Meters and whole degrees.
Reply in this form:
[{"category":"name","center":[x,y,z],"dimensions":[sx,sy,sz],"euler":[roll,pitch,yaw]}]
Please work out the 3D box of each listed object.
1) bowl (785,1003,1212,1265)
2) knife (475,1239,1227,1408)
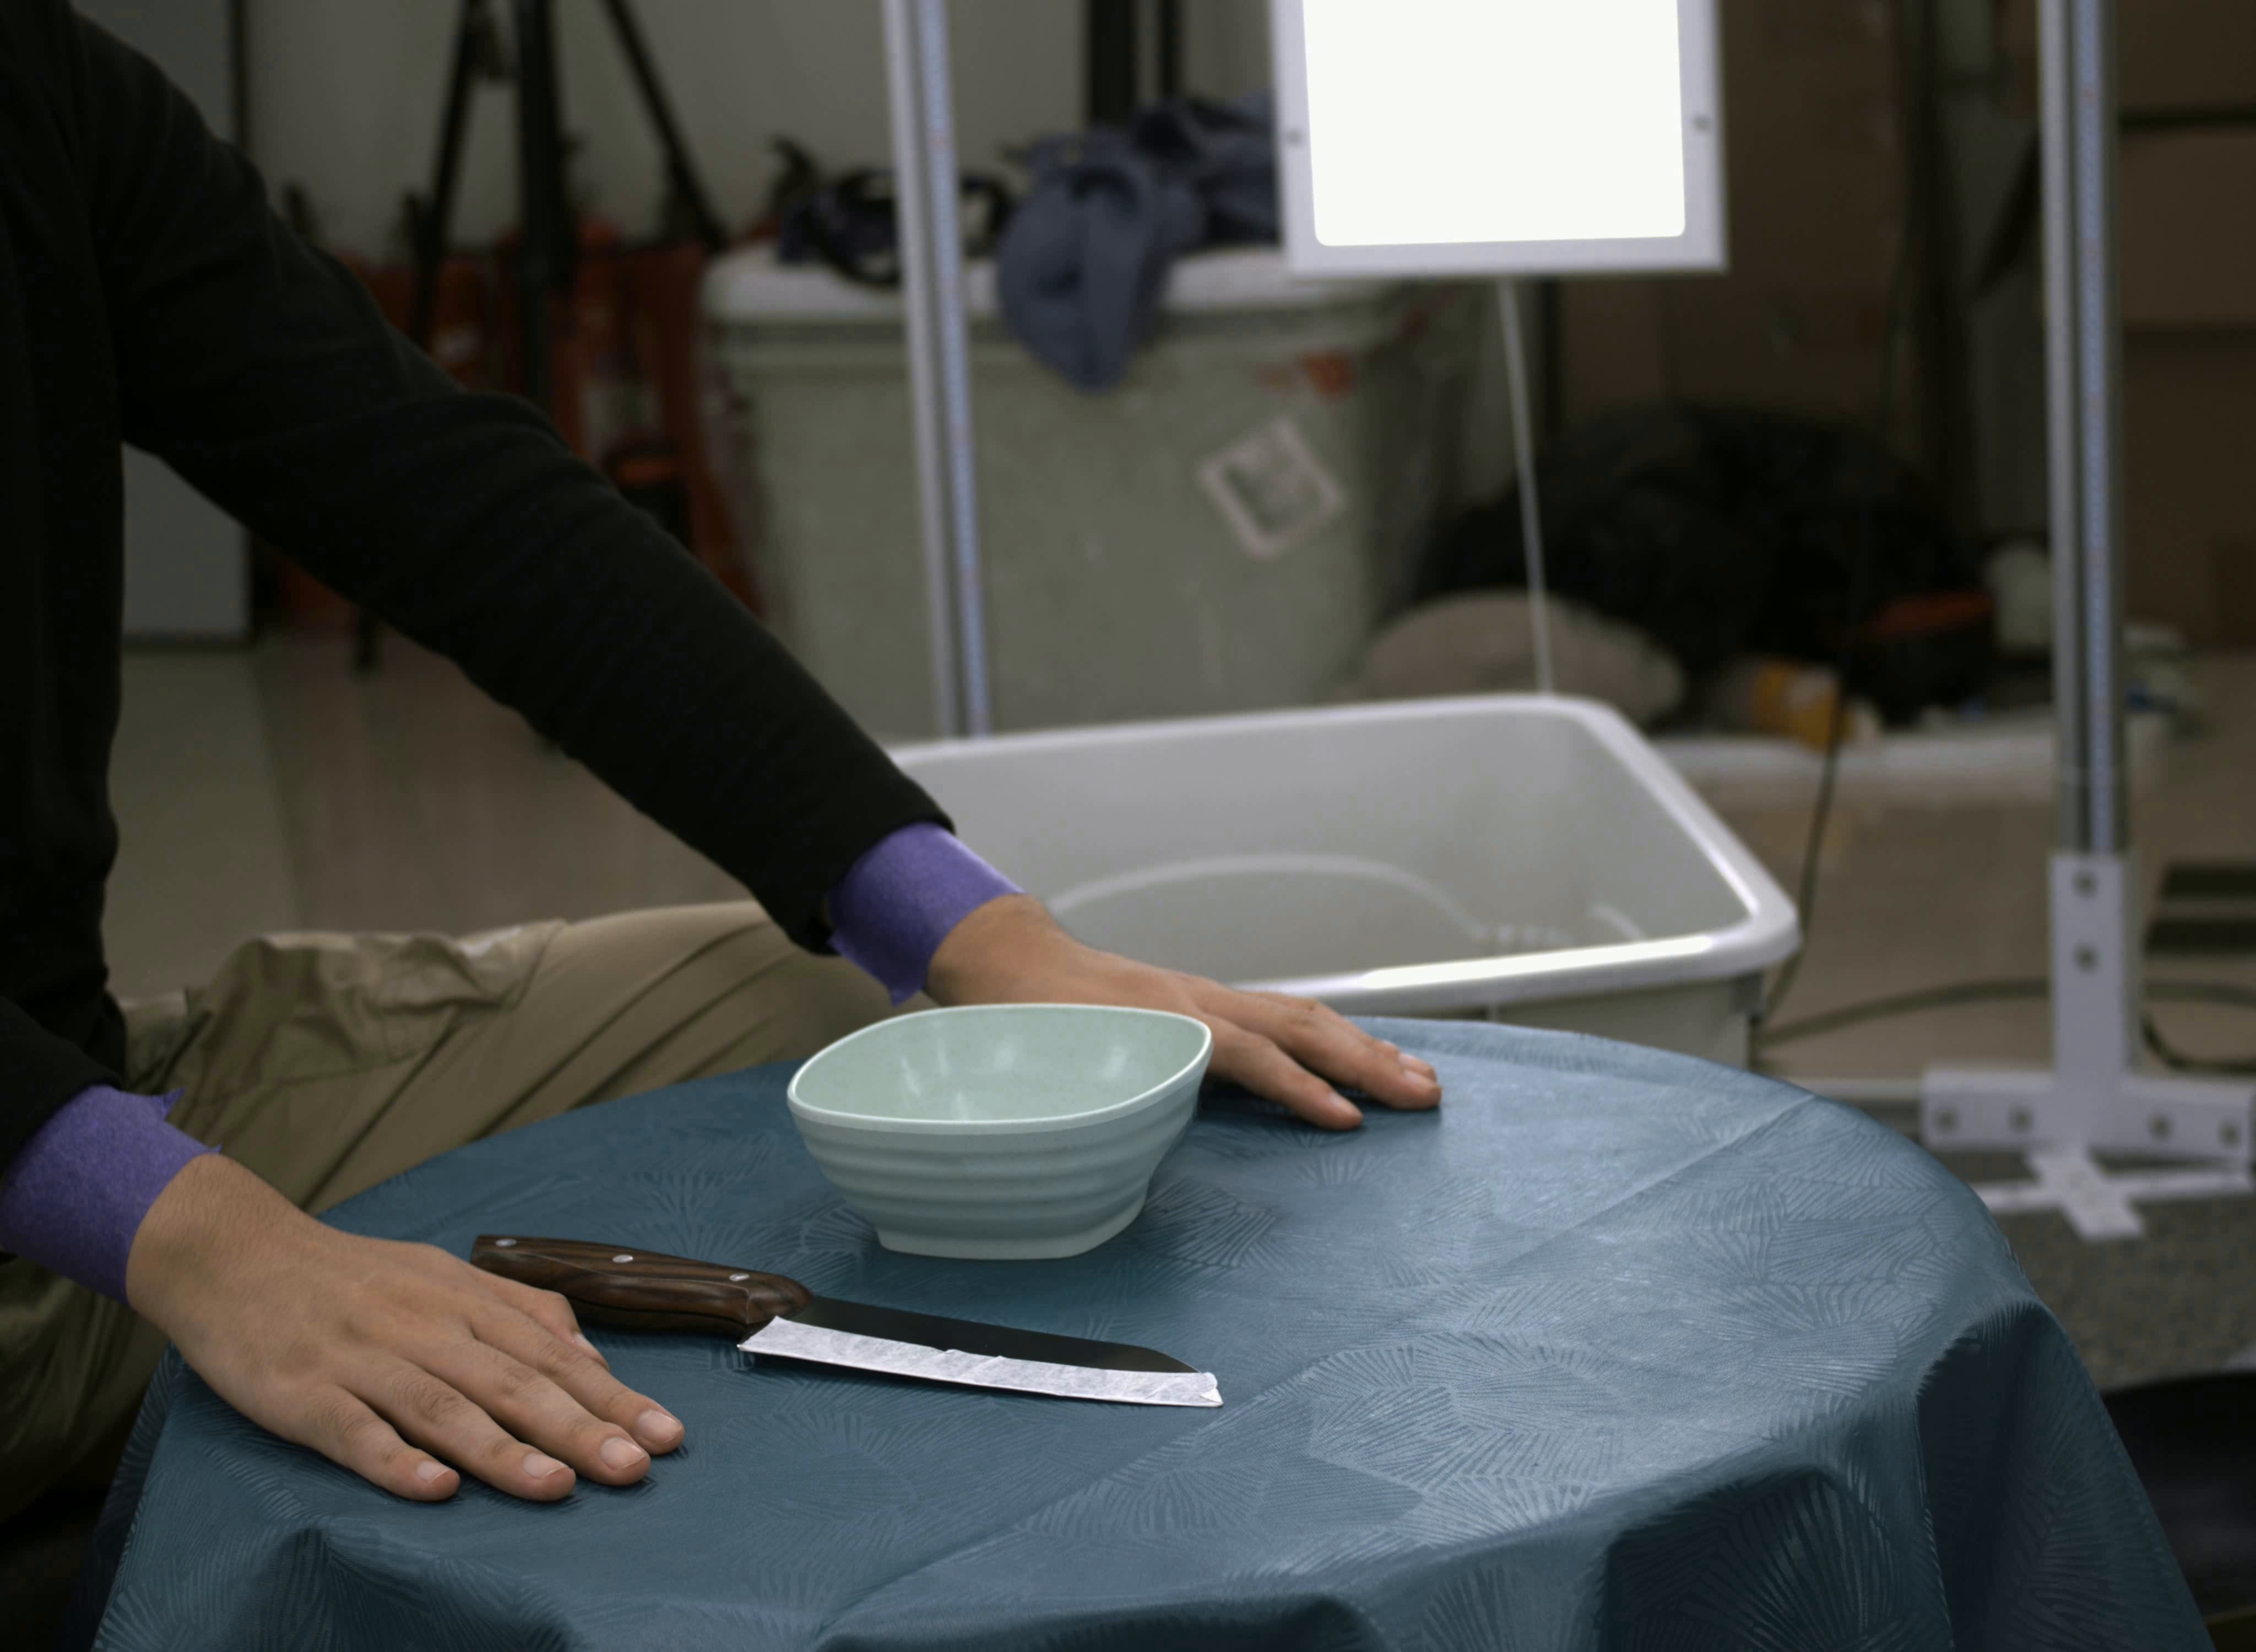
[{"category":"bowl","center":[-0.042,0.108,1.874],"dimensions":[0.151,0.059,0.151],"euler":[-4,15,0]},{"category":"knife","center":[-0.093,0.161,1.763],"dimensions":[0.294,0.020,0.049],"euler":[7,22,32]}]
